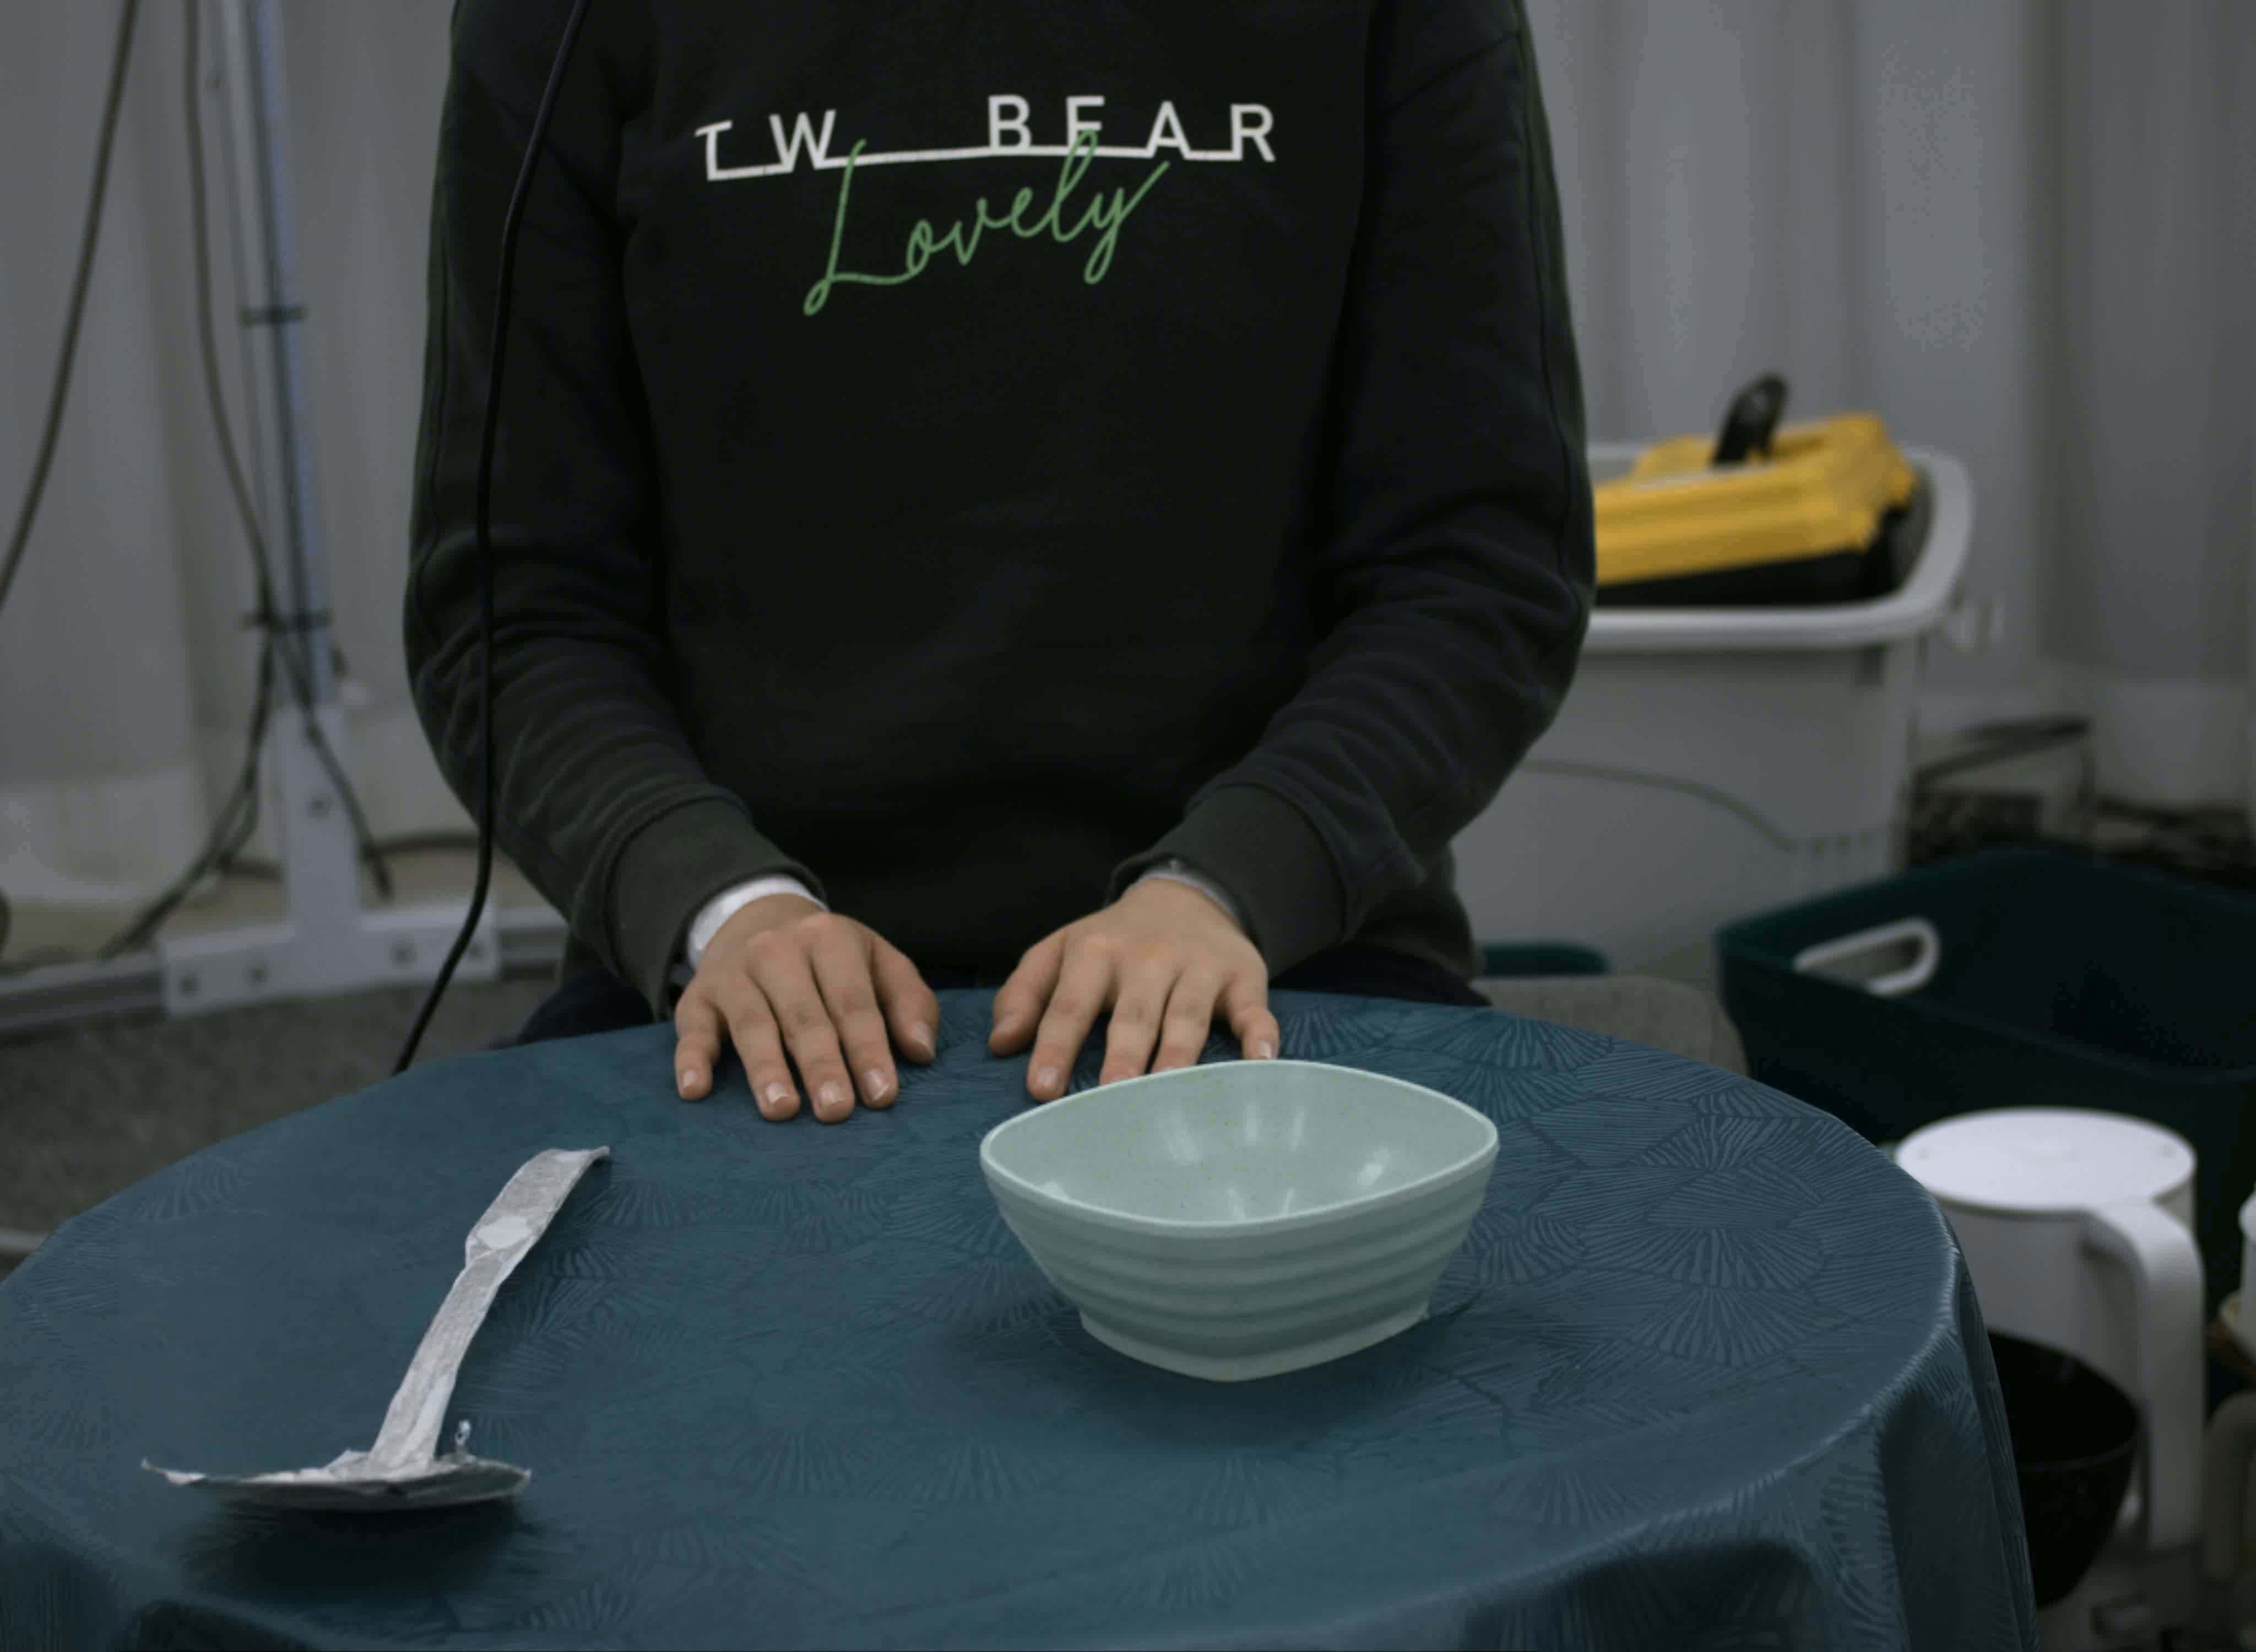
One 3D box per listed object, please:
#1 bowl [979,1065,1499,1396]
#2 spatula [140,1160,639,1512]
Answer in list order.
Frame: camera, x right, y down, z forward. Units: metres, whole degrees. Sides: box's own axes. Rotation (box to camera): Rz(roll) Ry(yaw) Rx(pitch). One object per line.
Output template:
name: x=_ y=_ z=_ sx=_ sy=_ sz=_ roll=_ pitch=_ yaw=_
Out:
bowl: x=0.032 y=0.121 z=1.588 sx=0.151 sy=0.058 sz=0.152 roll=-1 pitch=16 yaw=0
spatula: x=-0.191 y=0.139 z=1.585 sx=0.098 sy=0.044 sz=0.367 roll=-3 pitch=15 yaw=7
